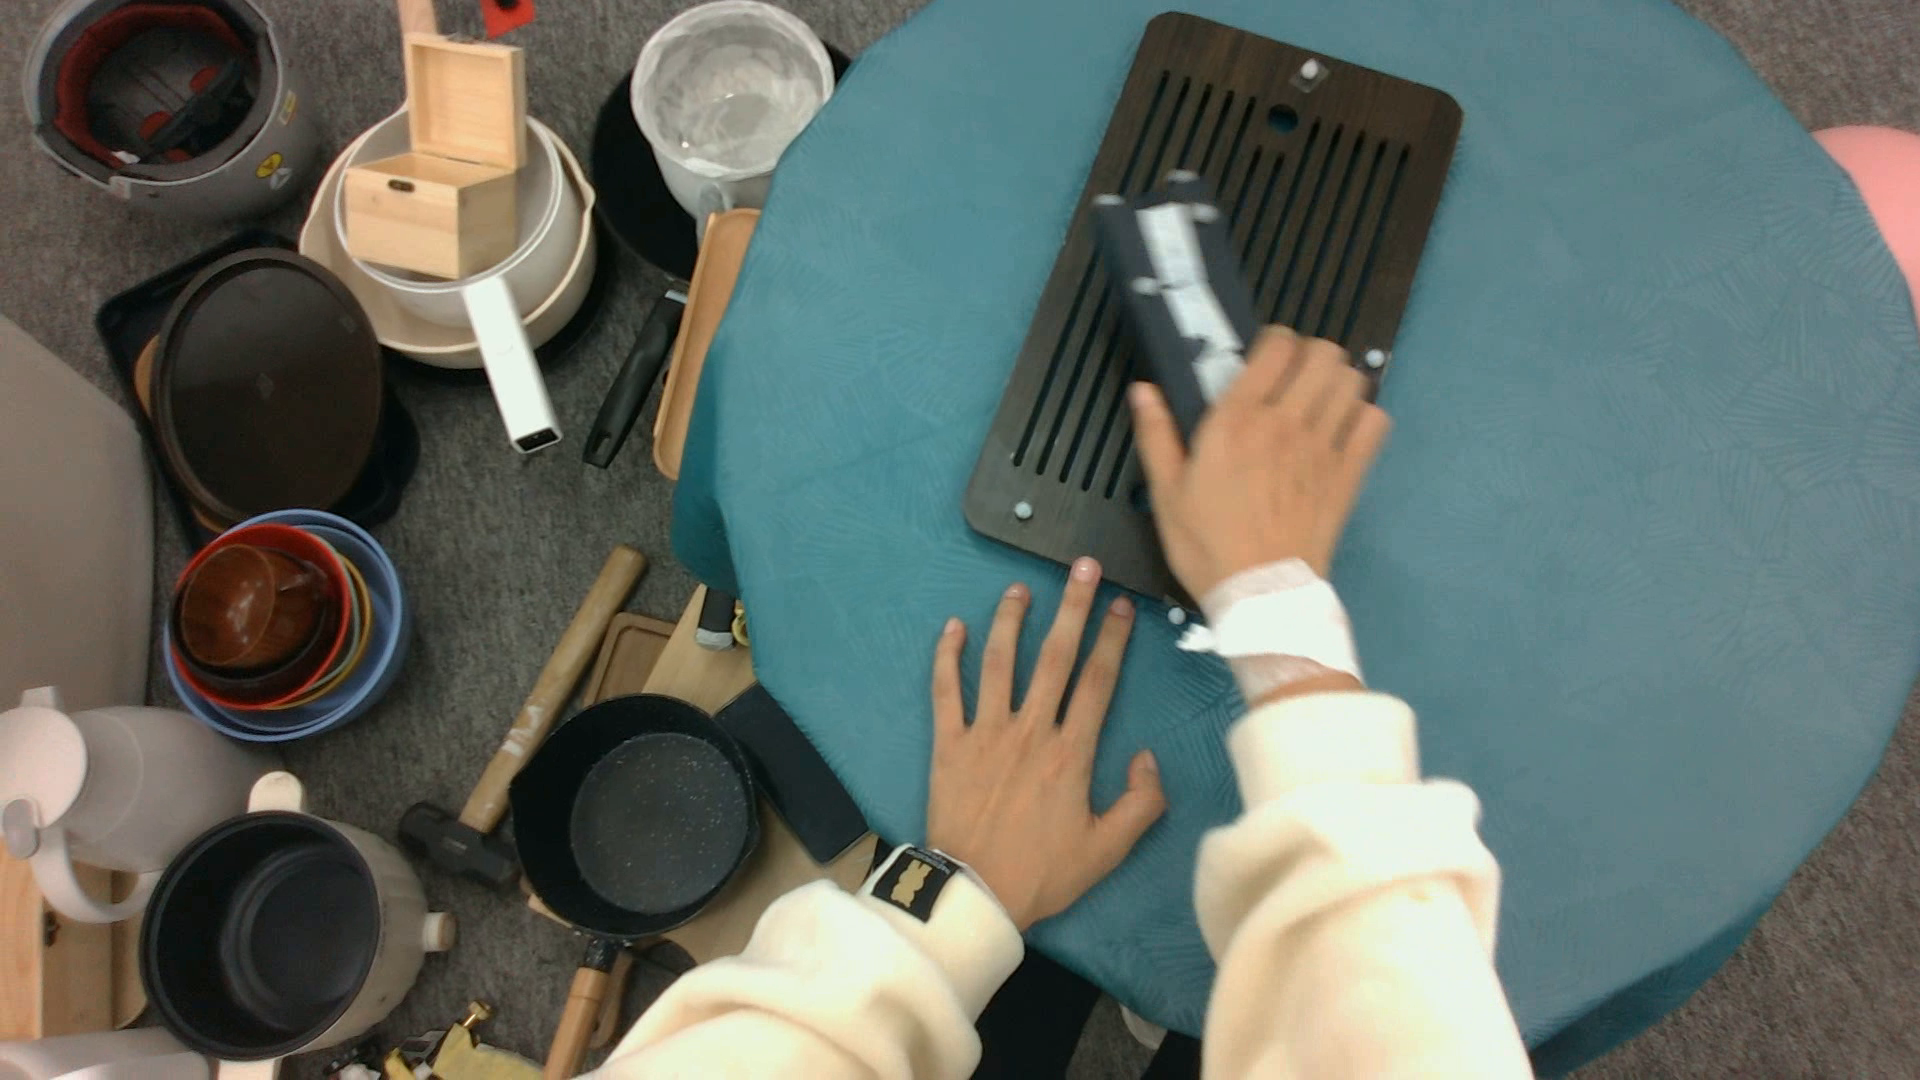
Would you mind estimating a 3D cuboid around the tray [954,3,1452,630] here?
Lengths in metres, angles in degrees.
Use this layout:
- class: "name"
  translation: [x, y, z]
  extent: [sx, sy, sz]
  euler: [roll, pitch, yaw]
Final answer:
- class: "tray"
  translation: [0.125, -0.120, 0.685]
  extent: [0.170, 0.018, 0.307]
  euler: [19, 75, 6]

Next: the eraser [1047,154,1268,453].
- class: "eraser"
  translation: [0.087, -0.105, 0.615]
  extent: [0.053, 0.030, 0.125]
  euler: [-23, 82, -1]
